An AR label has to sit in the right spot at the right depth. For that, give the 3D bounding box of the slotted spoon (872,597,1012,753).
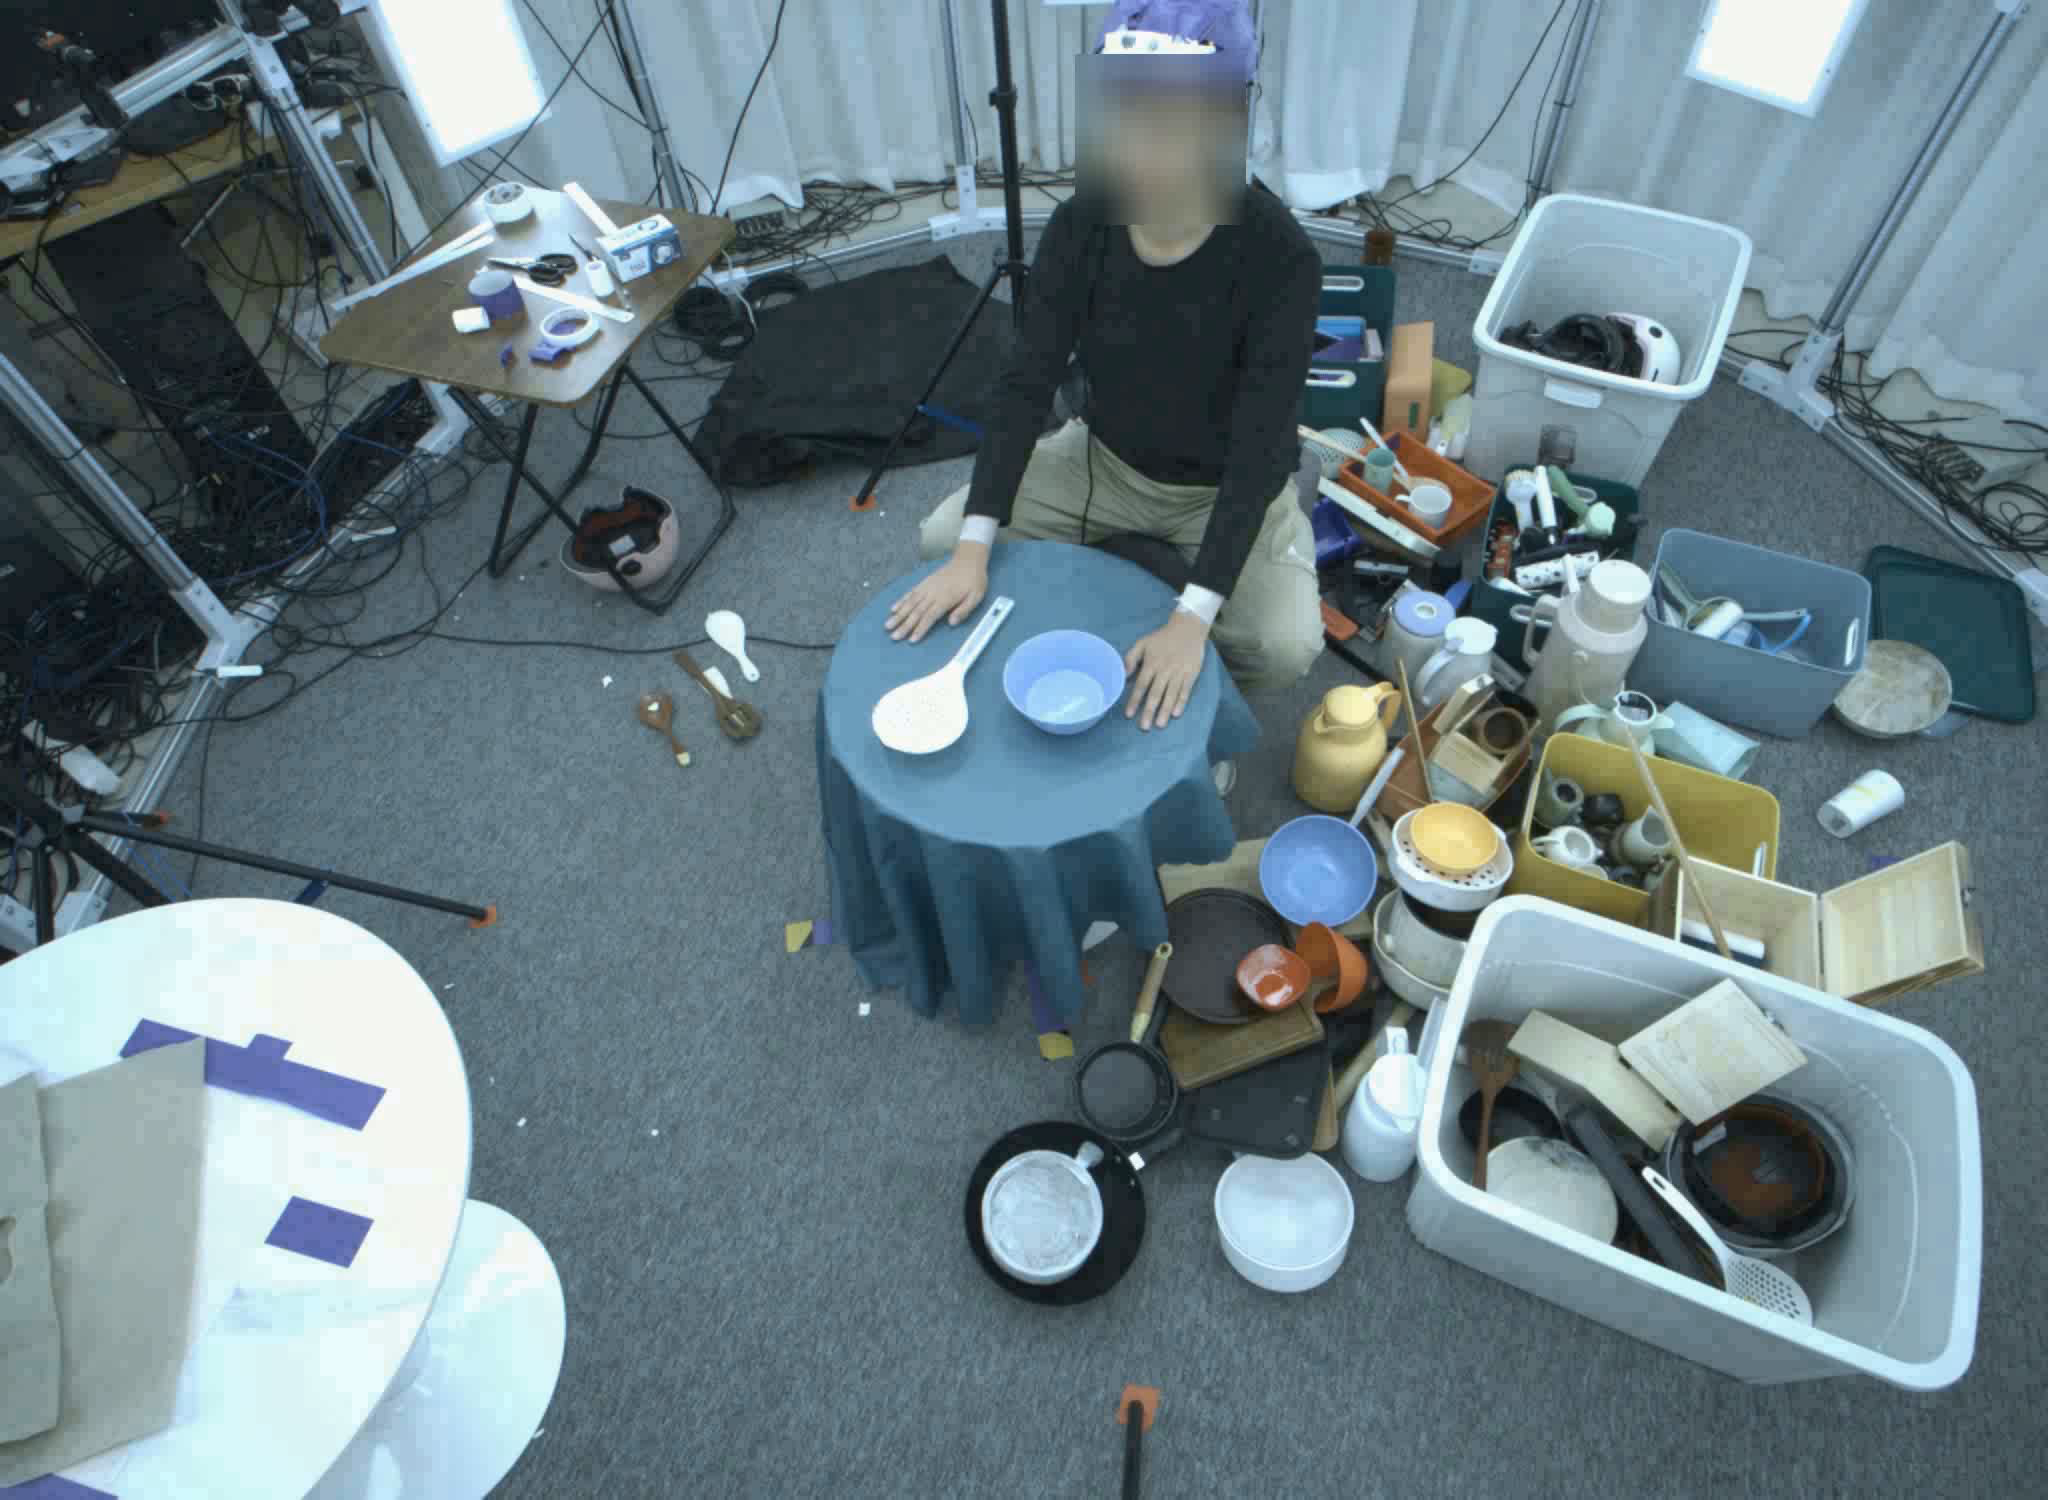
[{"bbox_3d":[-0.105,-0.118,1.847,0.134,0.046,0.350,20,57,16],"label":"slotted spoon"}]

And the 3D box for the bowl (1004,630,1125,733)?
[{"bbox_3d":[0.060,-0.090,1.807,0.176,0.071,0.174,0,54,1],"label":"bowl"}]
